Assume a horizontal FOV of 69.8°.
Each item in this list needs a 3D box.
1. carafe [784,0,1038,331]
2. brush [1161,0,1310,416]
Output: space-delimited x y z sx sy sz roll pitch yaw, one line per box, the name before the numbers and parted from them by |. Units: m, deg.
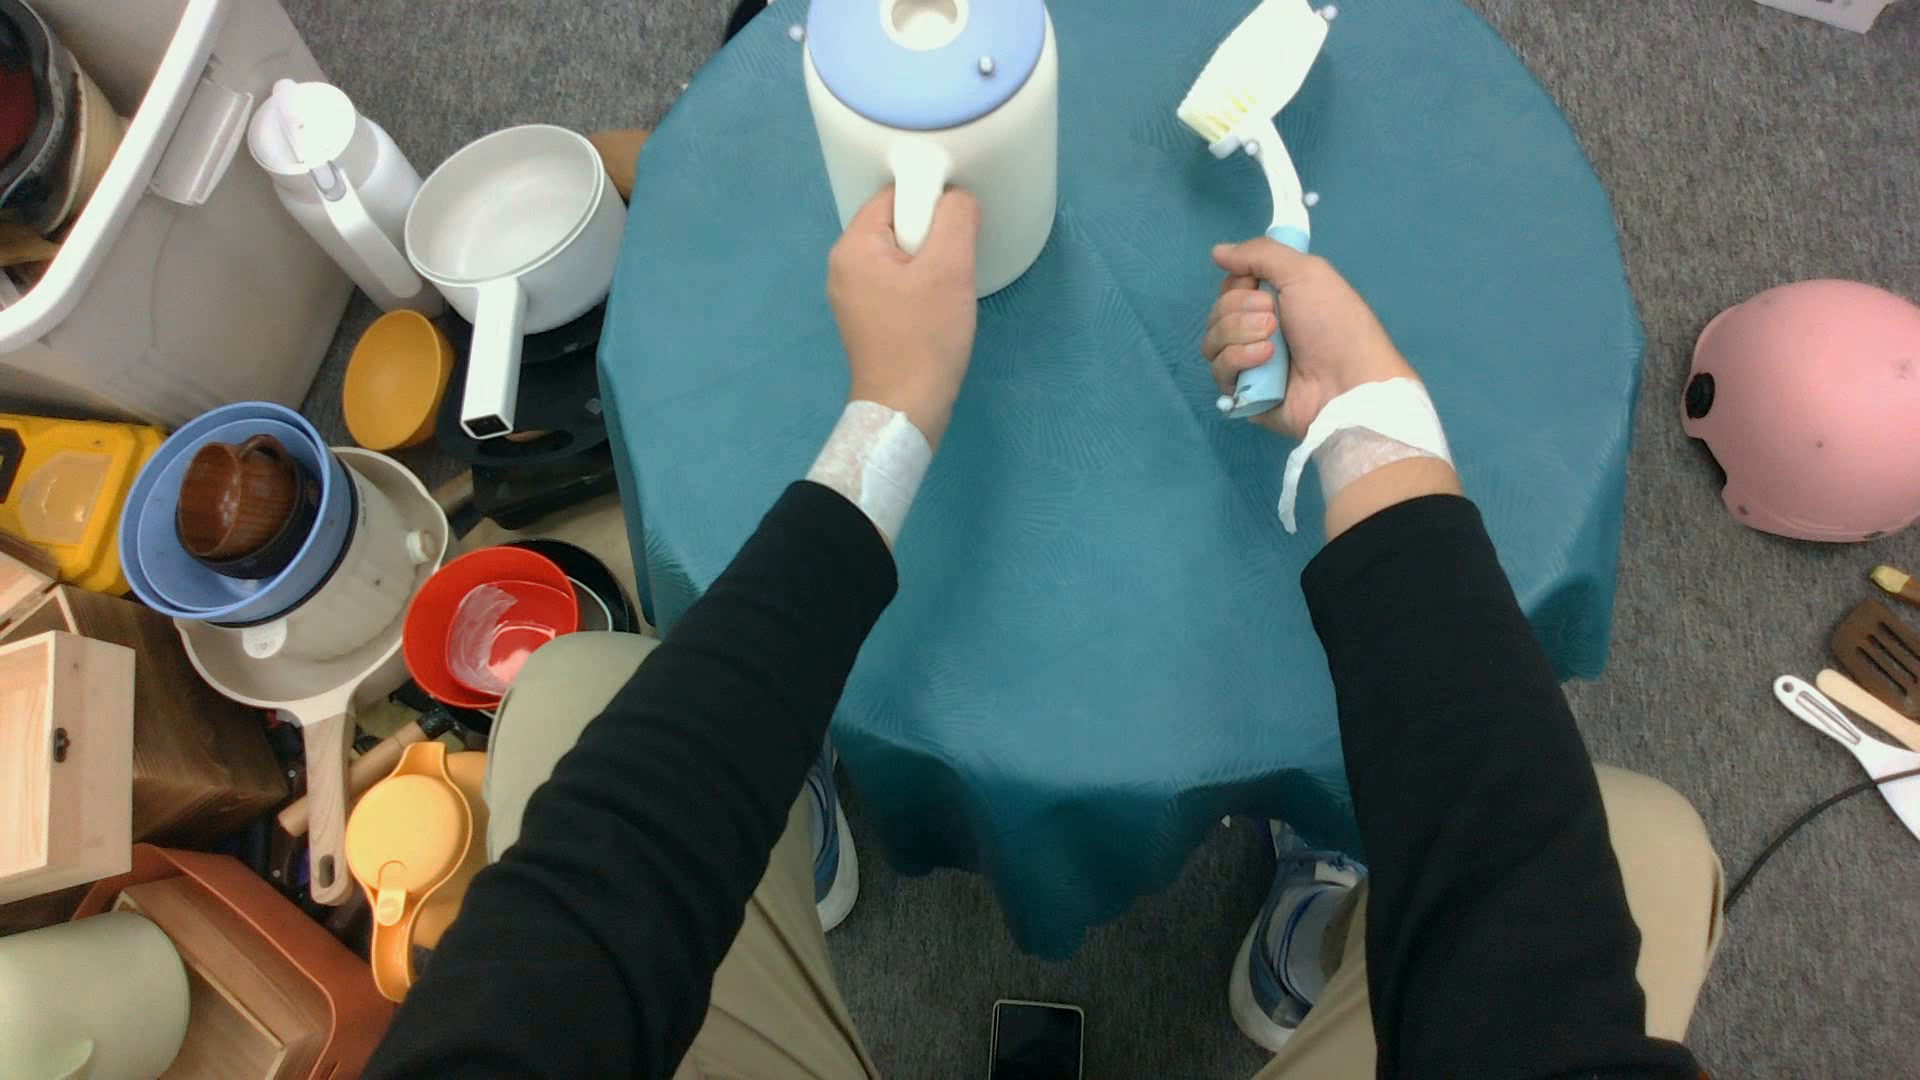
carafe | -0.024 -0.212 0.751 0.132 0.182 0.191 1 72 3
brush | 0.144 -0.209 0.755 0.084 0.083 0.327 10 56 11
